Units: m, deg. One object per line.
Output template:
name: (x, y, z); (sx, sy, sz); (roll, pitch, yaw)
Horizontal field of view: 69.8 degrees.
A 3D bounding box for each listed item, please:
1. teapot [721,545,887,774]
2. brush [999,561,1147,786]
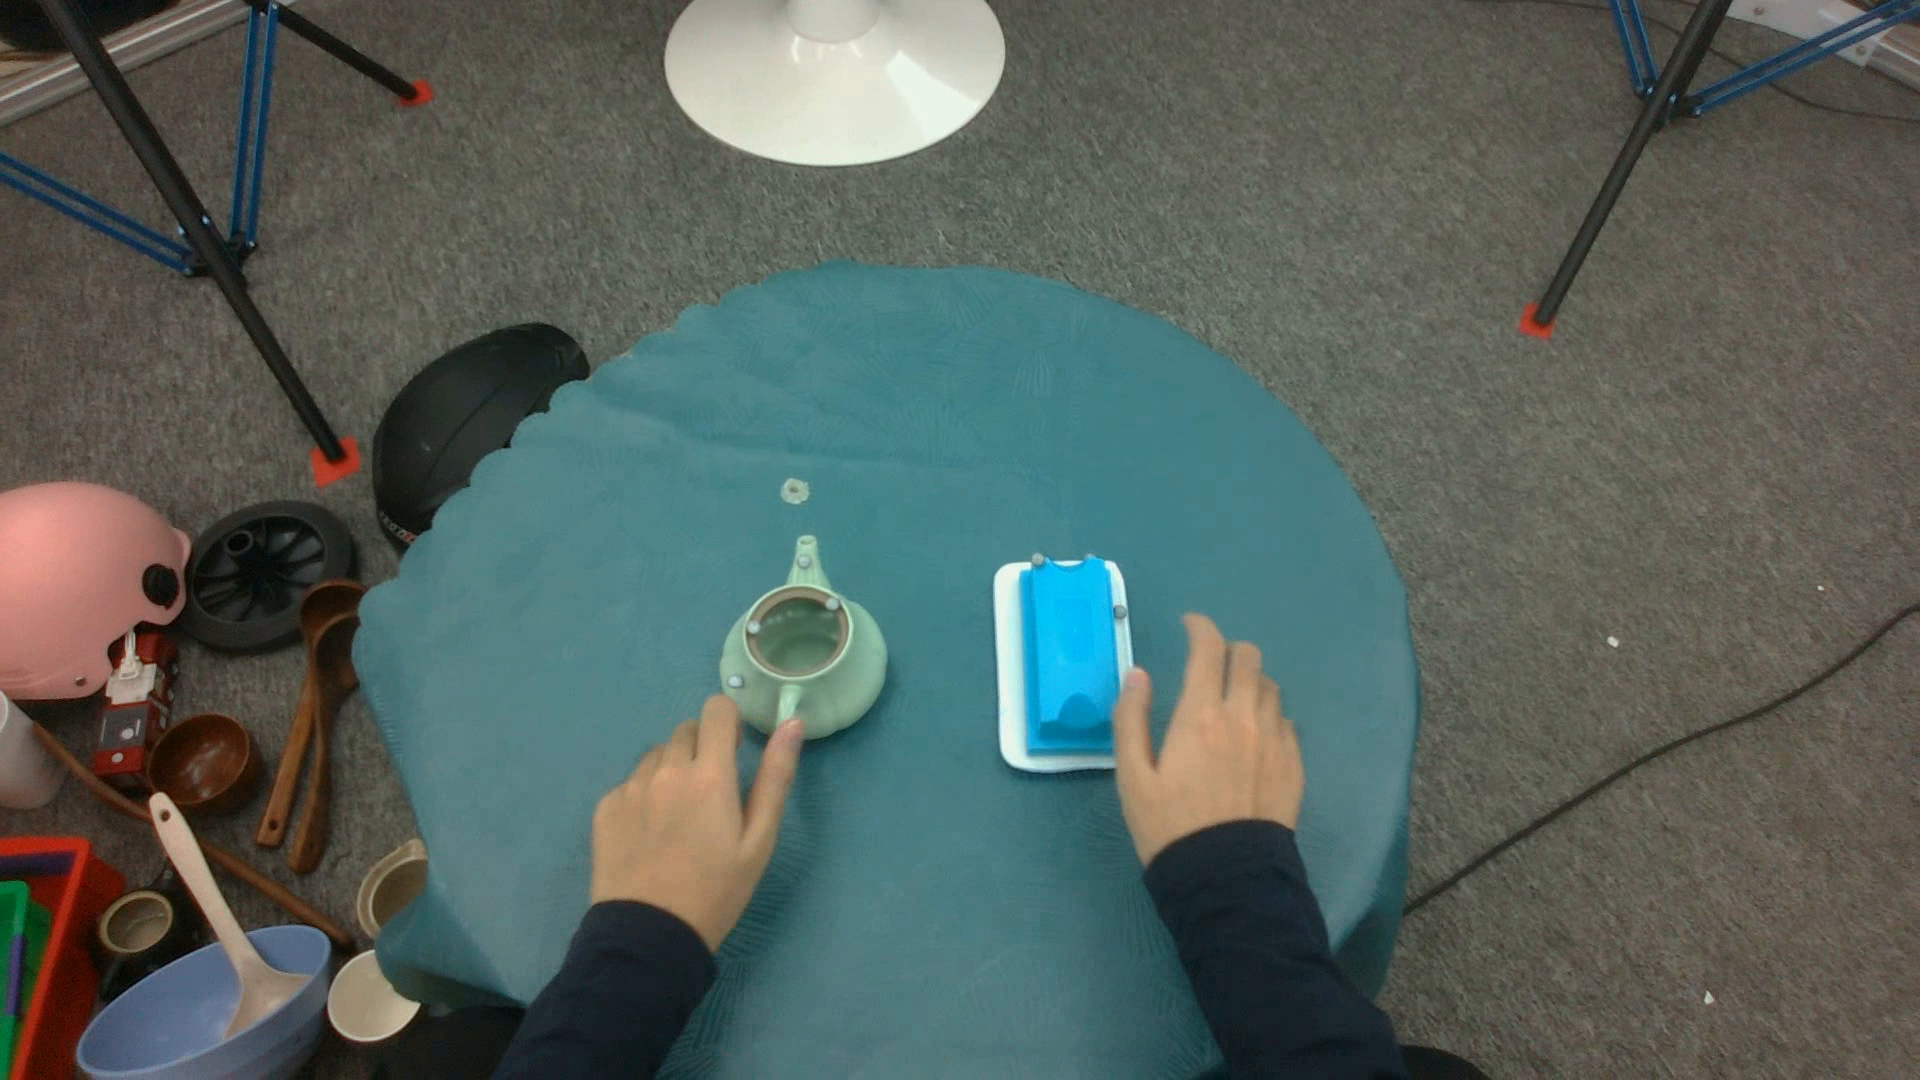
teapot: (-0.091, 0.075, 0.795); (0.096, 0.061, 0.137); (2, 55, -2)
brush: (0.064, 0.070, 0.797); (0.084, 0.055, 0.144); (-1, 53, 3)
